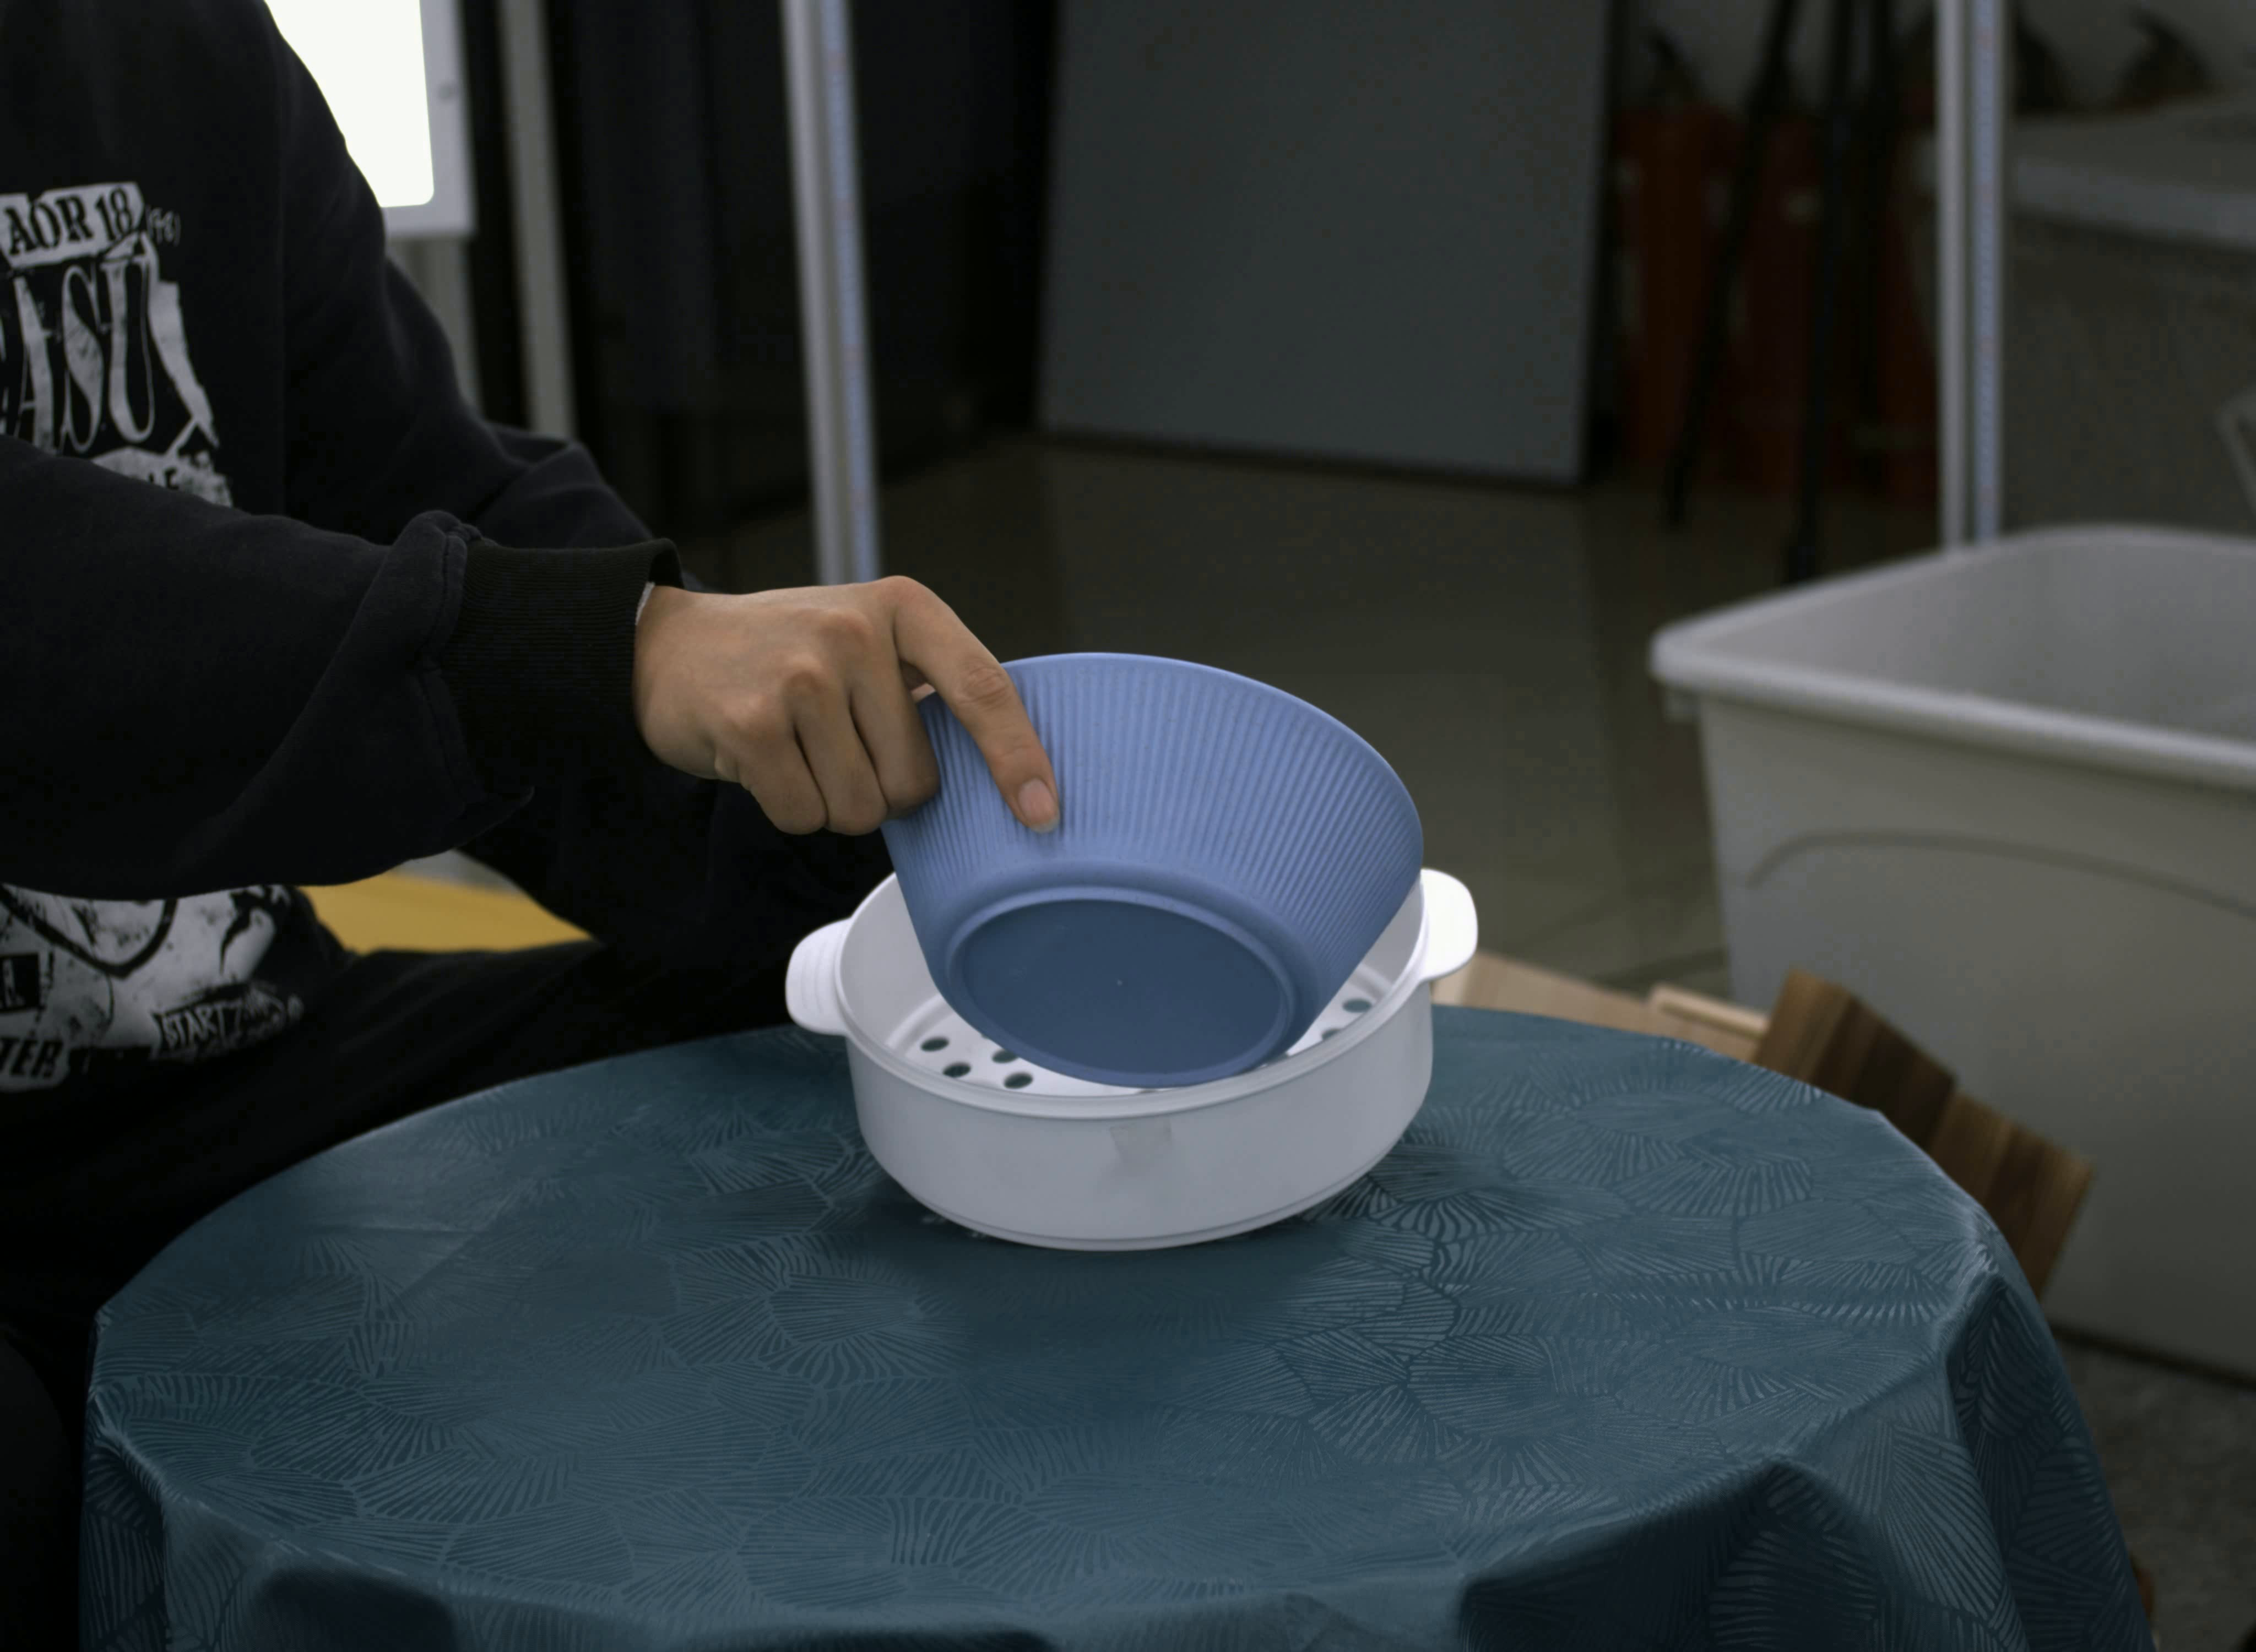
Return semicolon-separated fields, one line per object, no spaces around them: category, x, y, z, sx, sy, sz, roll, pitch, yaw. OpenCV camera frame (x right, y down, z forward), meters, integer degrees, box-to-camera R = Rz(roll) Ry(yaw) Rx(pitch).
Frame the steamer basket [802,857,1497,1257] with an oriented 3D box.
steamer basket;0.009;0.064;1.777;0.228;0.070;0.203;-5;29;2

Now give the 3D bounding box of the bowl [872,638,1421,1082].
bowl;0.002;0.021;1.667;0.175;0.175;0.071;0;54;13
